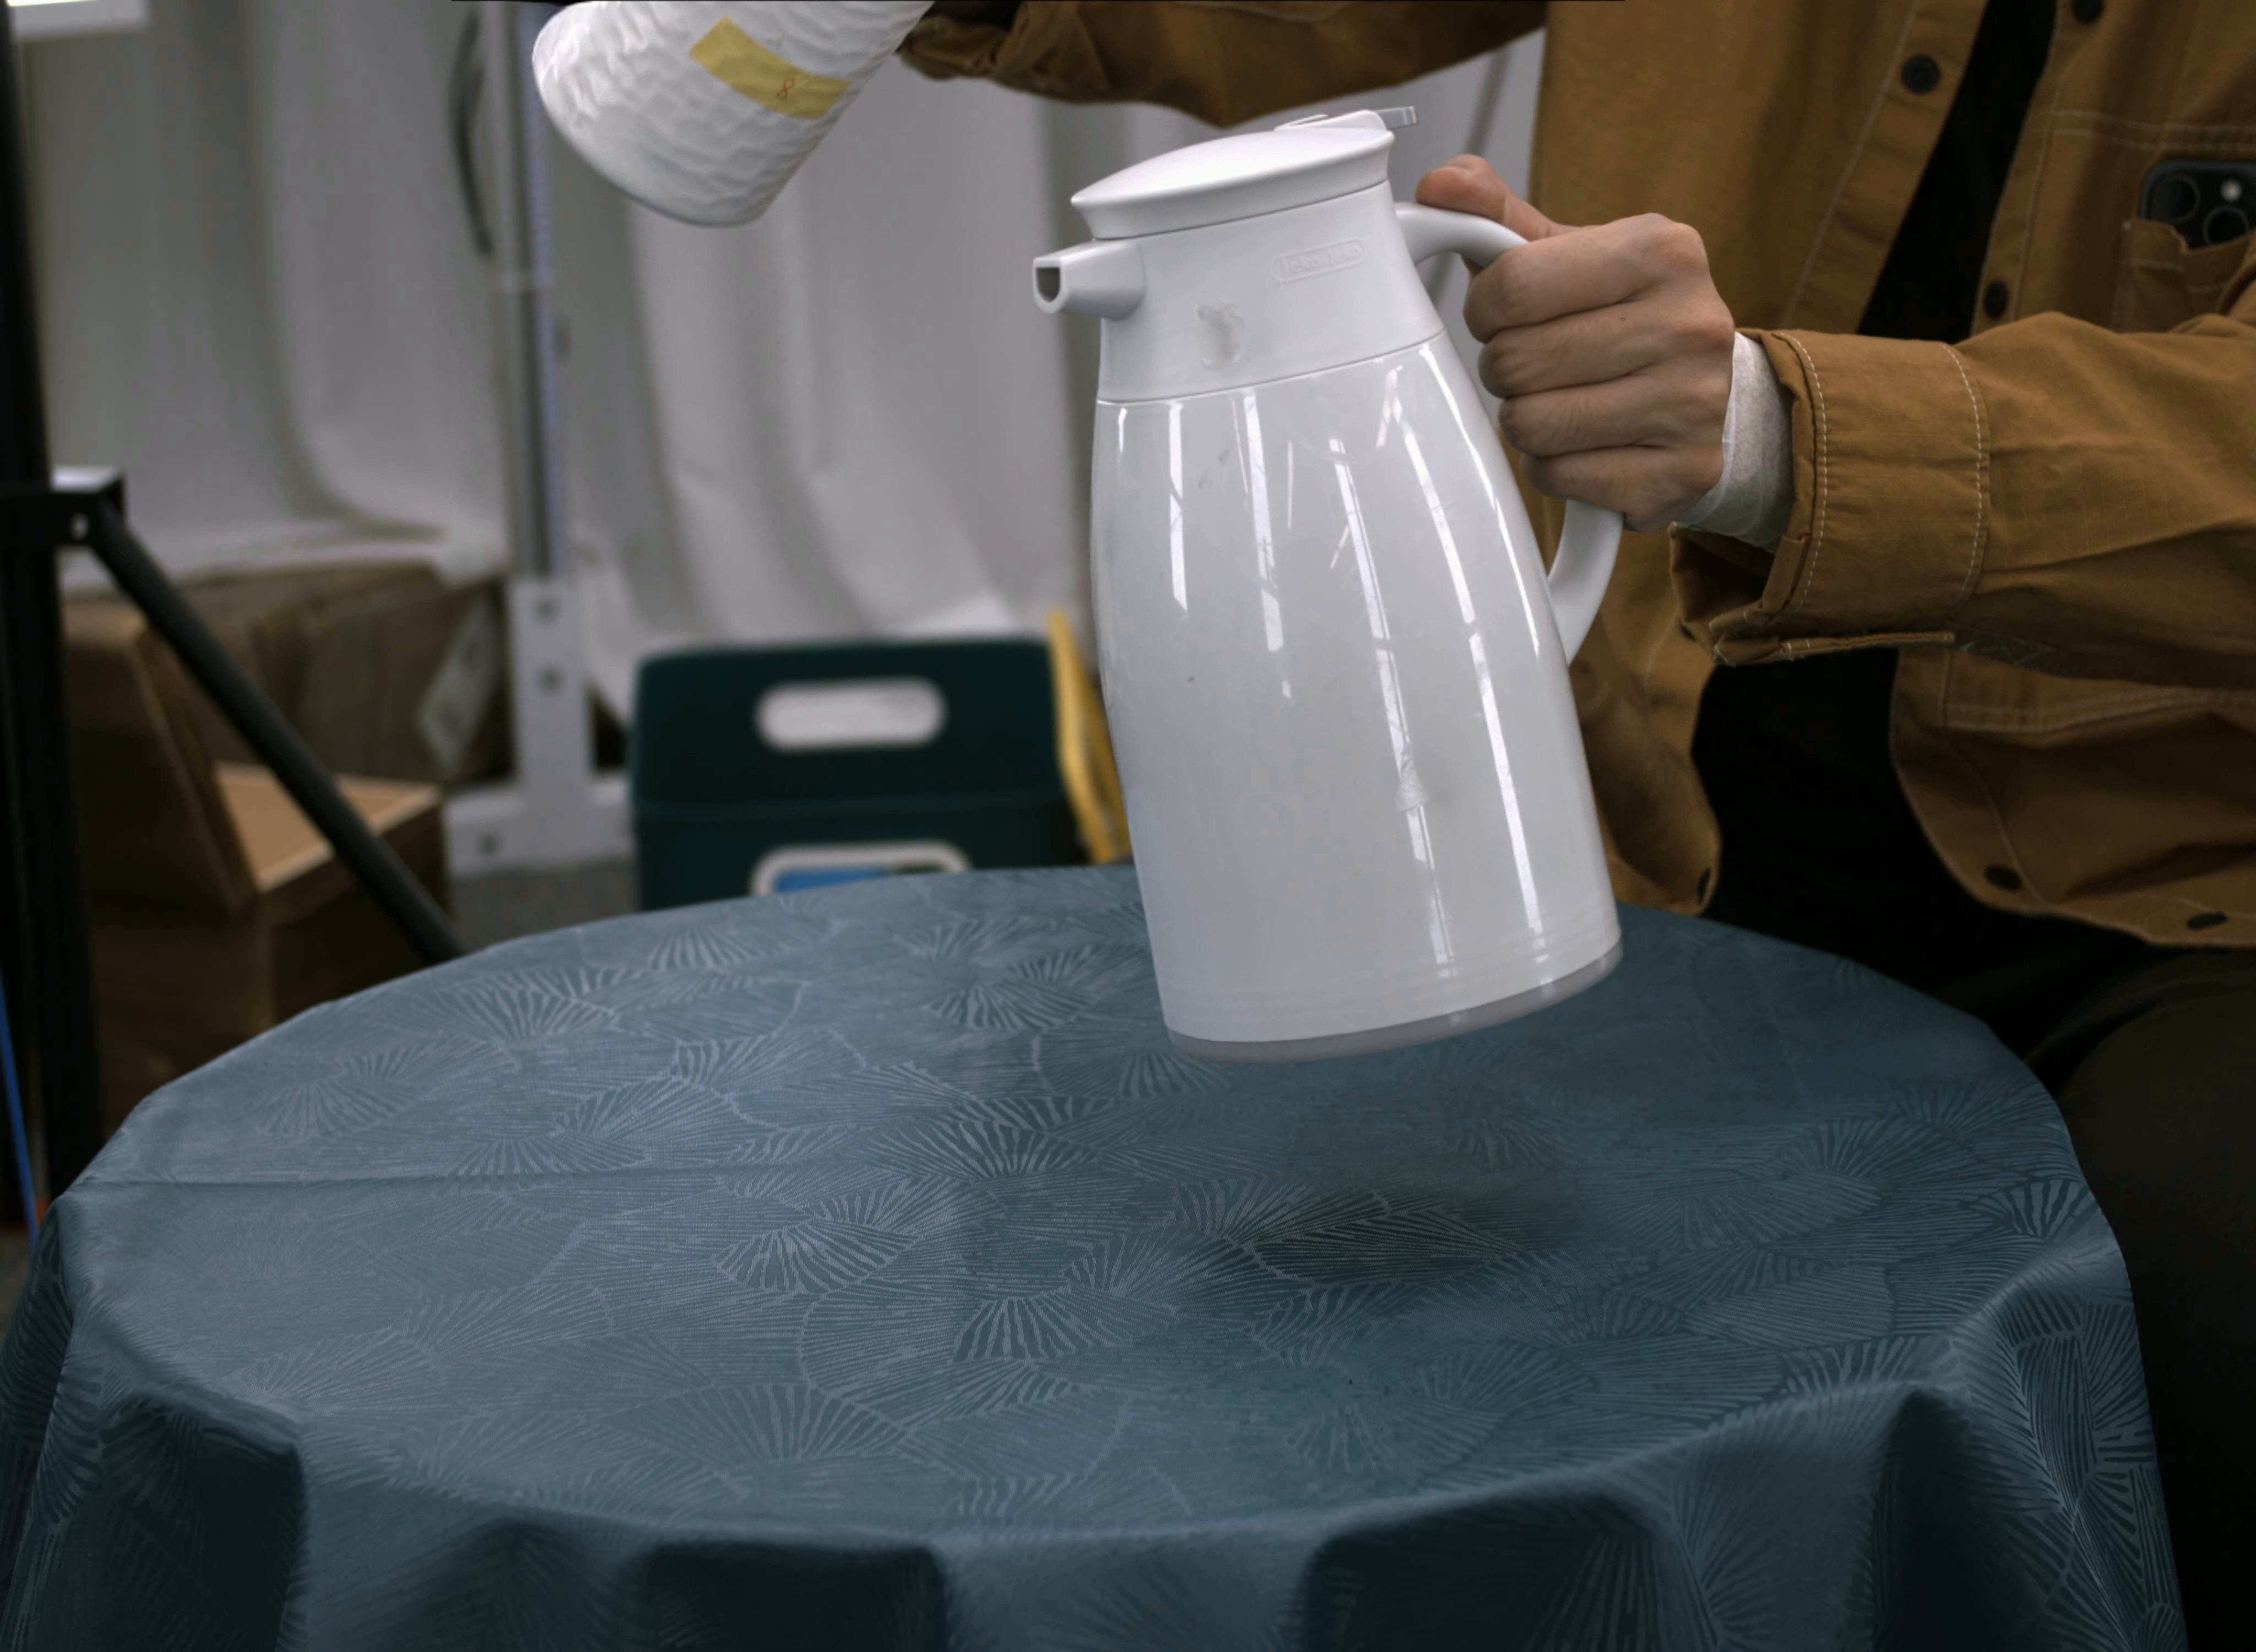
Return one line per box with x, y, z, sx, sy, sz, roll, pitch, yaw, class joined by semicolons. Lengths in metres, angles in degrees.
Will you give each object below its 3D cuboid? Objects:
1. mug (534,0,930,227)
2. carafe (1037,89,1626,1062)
-0.110;-0.244;1.555;0.084;0.103;0.118;33;31;-13;mug
0.068;-0.076;1.489;0.164;0.249;0.135;-15;9;-25;carafe
